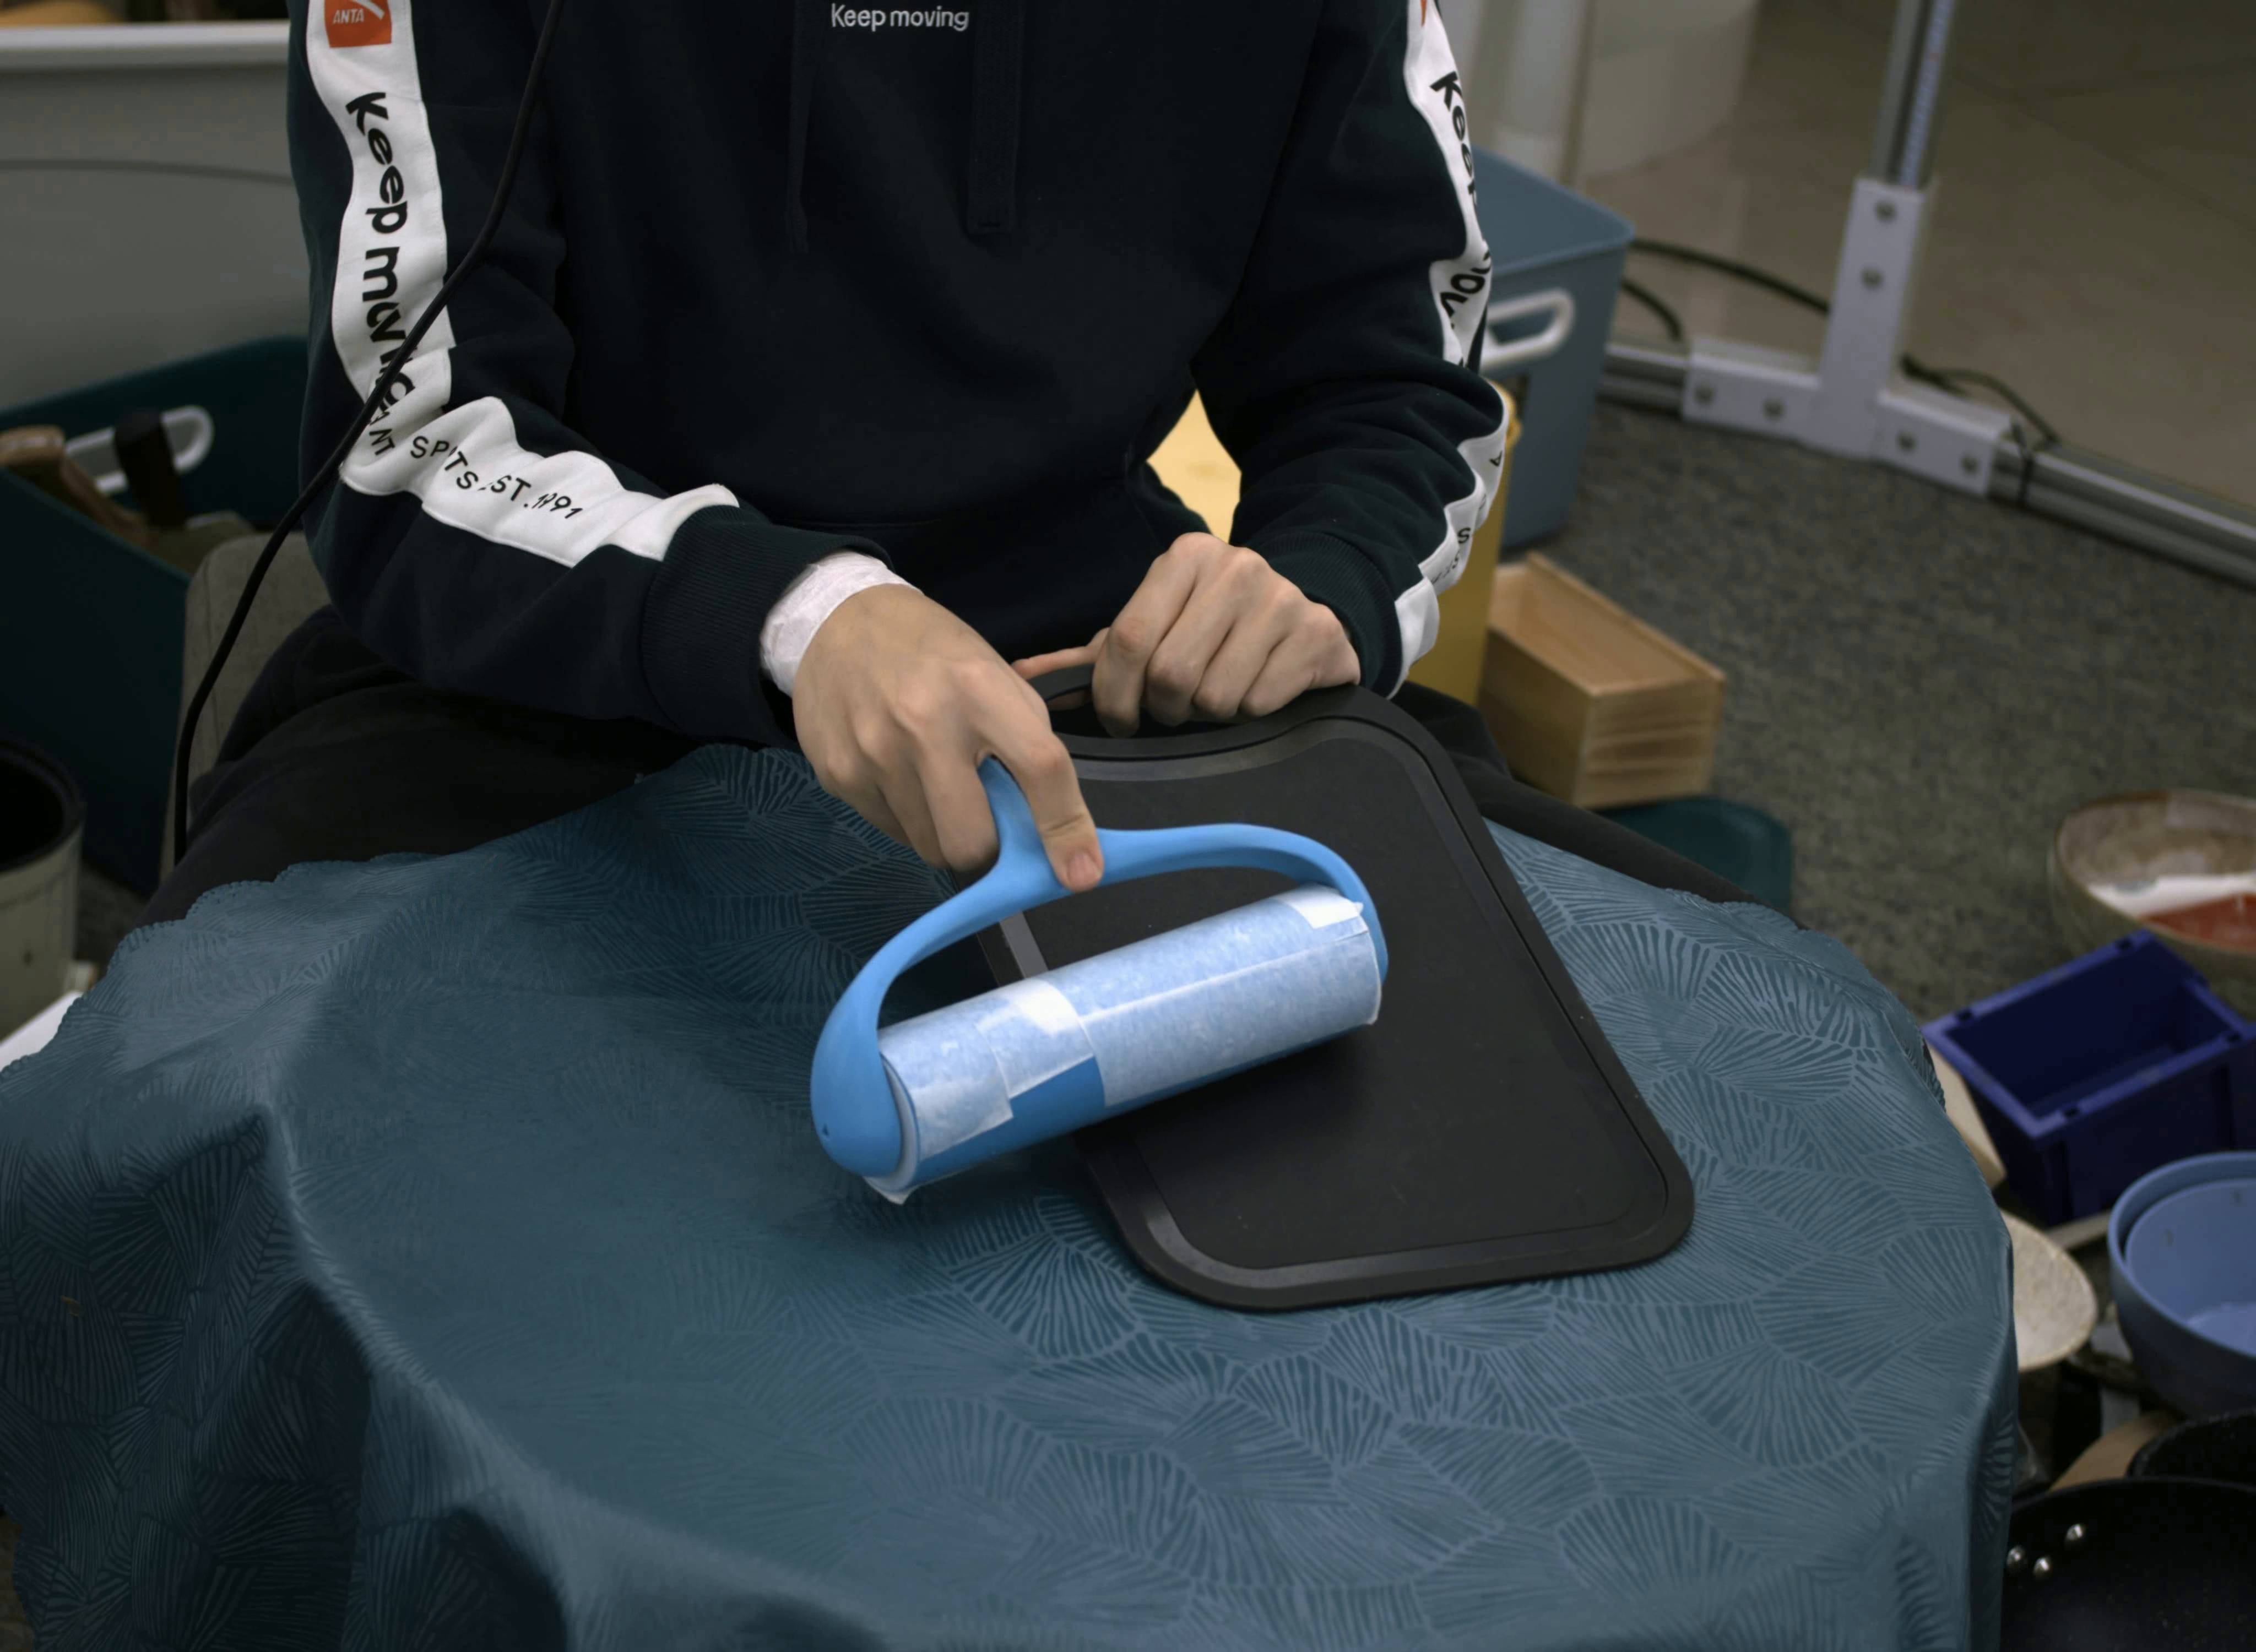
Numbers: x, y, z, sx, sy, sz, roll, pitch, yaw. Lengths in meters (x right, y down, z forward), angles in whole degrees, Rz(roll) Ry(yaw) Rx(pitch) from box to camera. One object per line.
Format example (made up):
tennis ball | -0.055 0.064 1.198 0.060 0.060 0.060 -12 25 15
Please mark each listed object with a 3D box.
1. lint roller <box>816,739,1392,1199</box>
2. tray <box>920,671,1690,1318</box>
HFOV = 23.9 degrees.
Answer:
lint roller | -0.037 0.026 1.820 0.228 0.068 0.181 -21 63 -31
tray | 0.055 0.049 1.874 0.210 0.010 0.328 -5 43 -21
